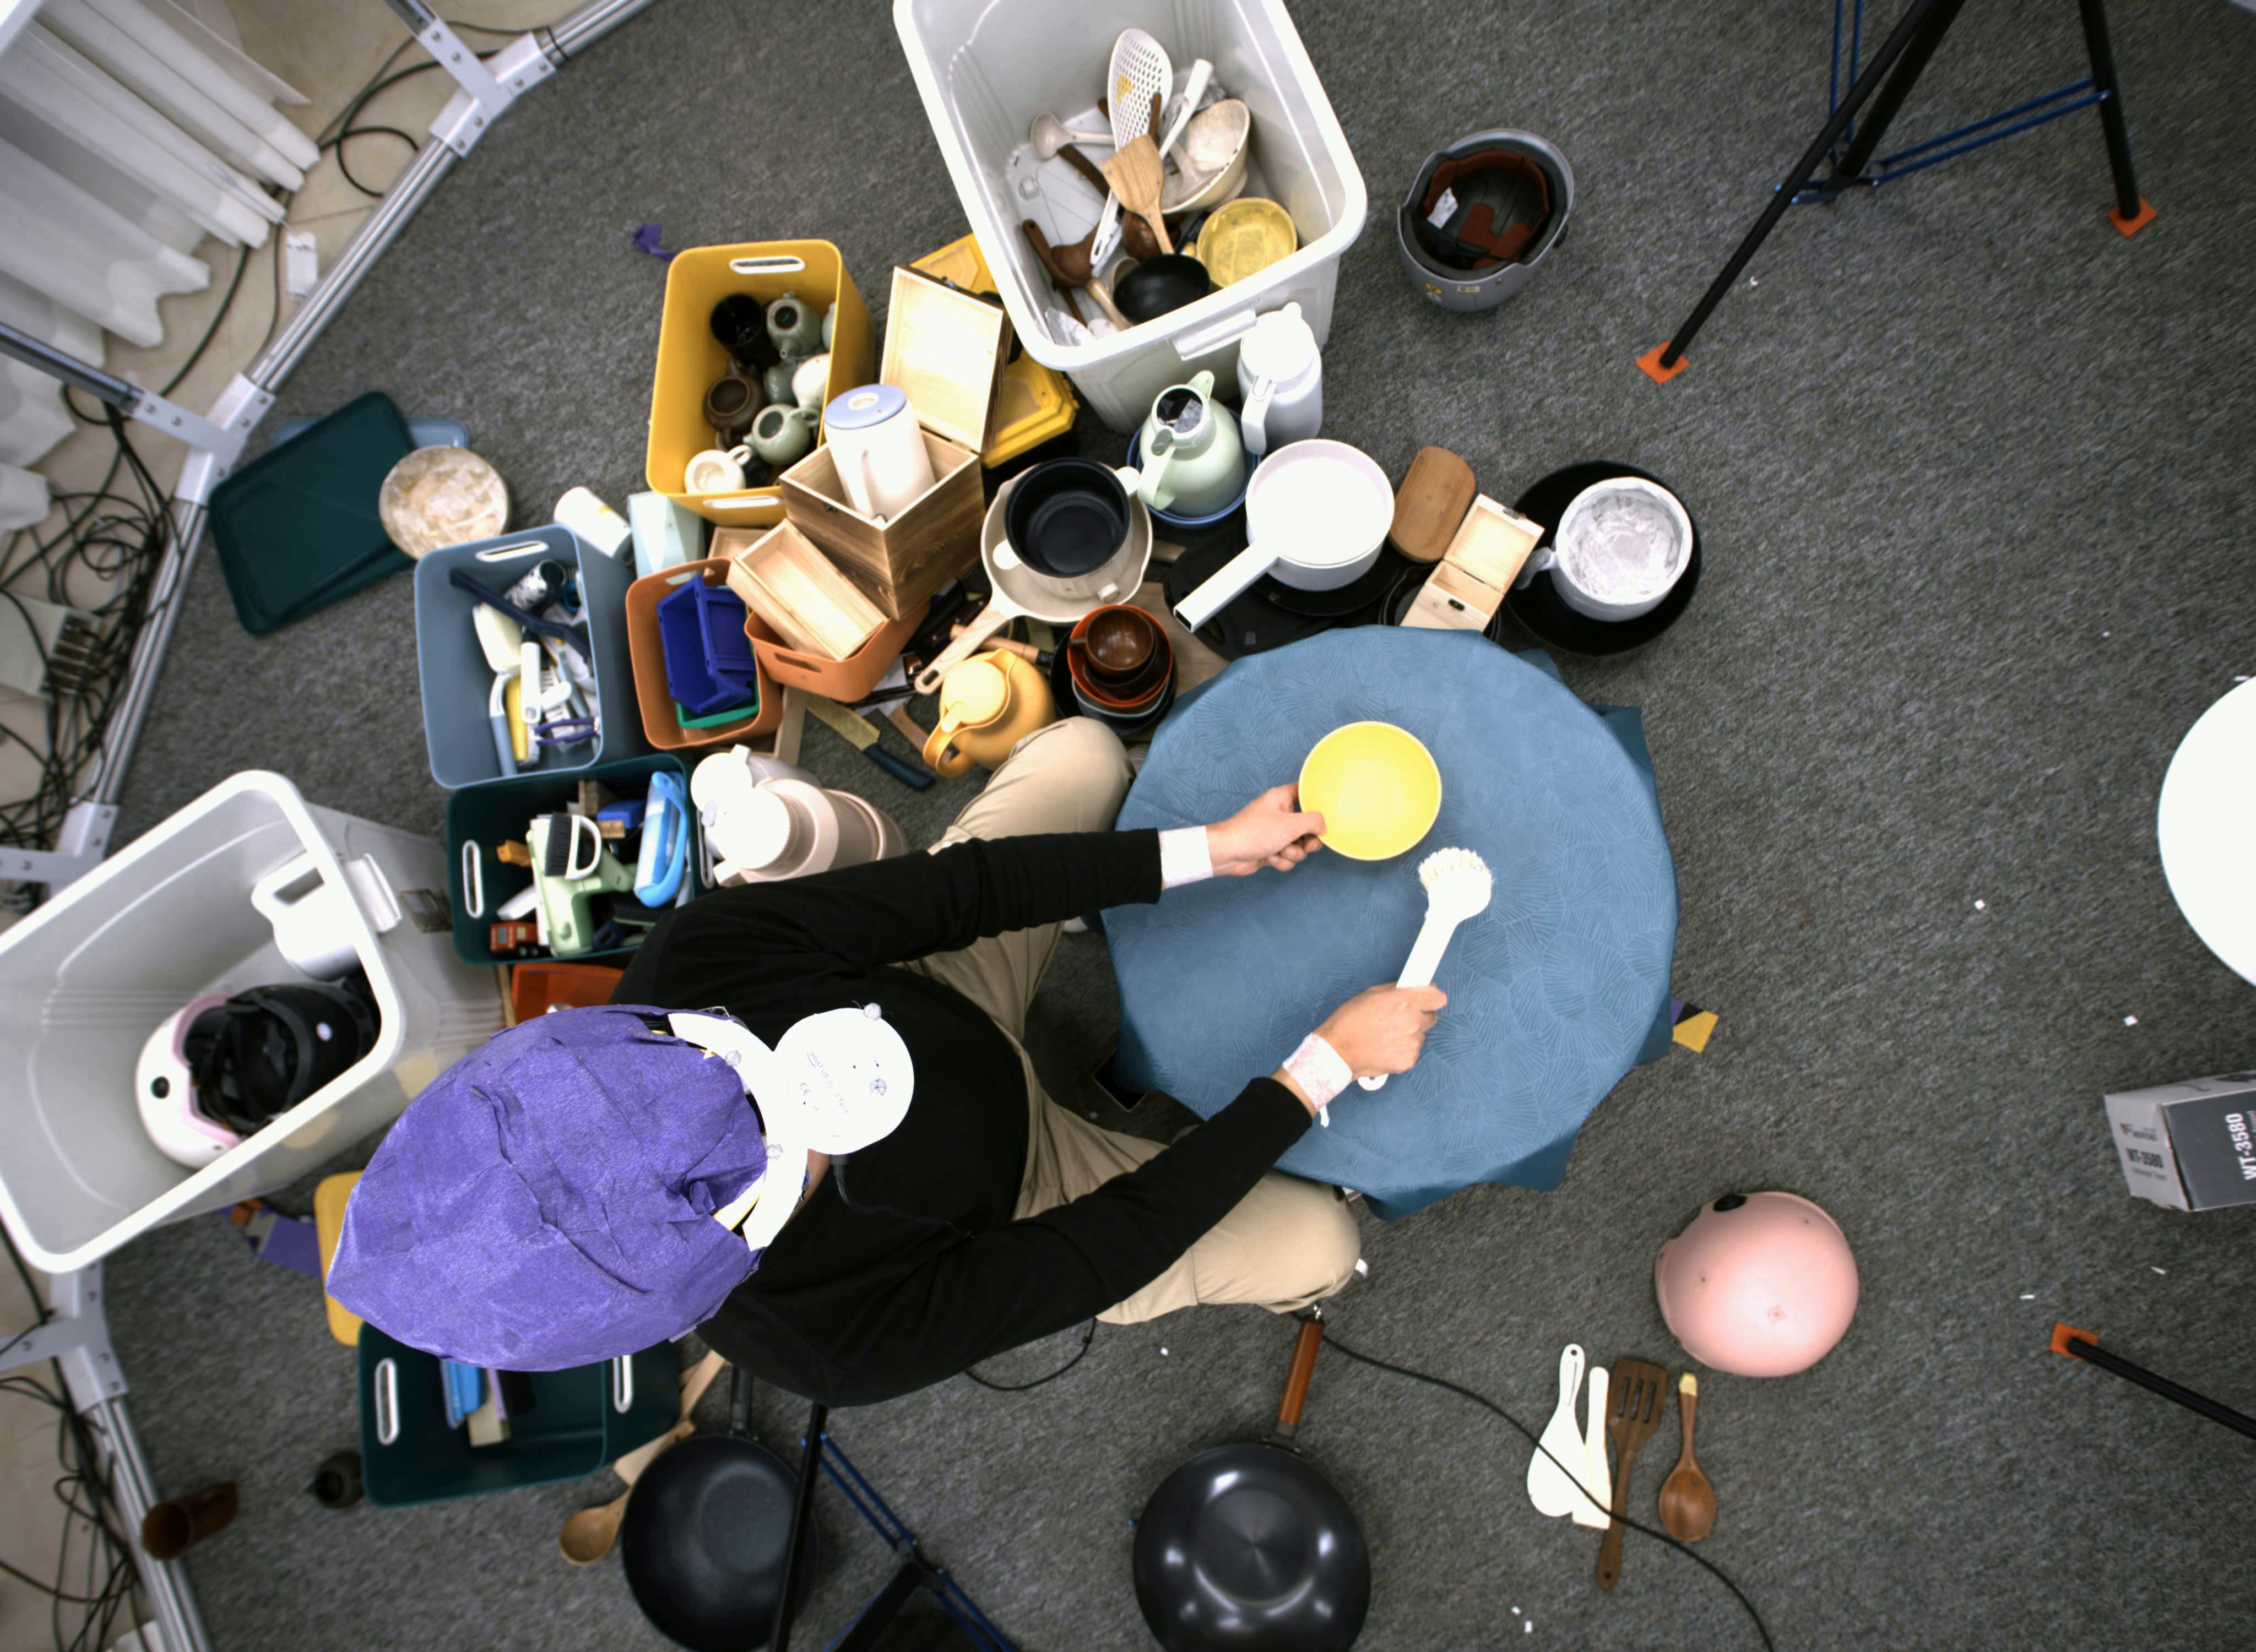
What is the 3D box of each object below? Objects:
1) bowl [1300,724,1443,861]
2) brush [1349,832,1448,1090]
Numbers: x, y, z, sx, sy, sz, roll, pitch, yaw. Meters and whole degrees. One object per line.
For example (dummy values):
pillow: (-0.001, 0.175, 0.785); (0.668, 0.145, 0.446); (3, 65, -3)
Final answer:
bowl: (0.254, -0.032, 1.438); (0.146, 0.060, 0.144); (-2, 83, 11)
brush: (0.263, 0.133, 1.392); (0.068, 0.055, 0.269); (13, 104, 4)
